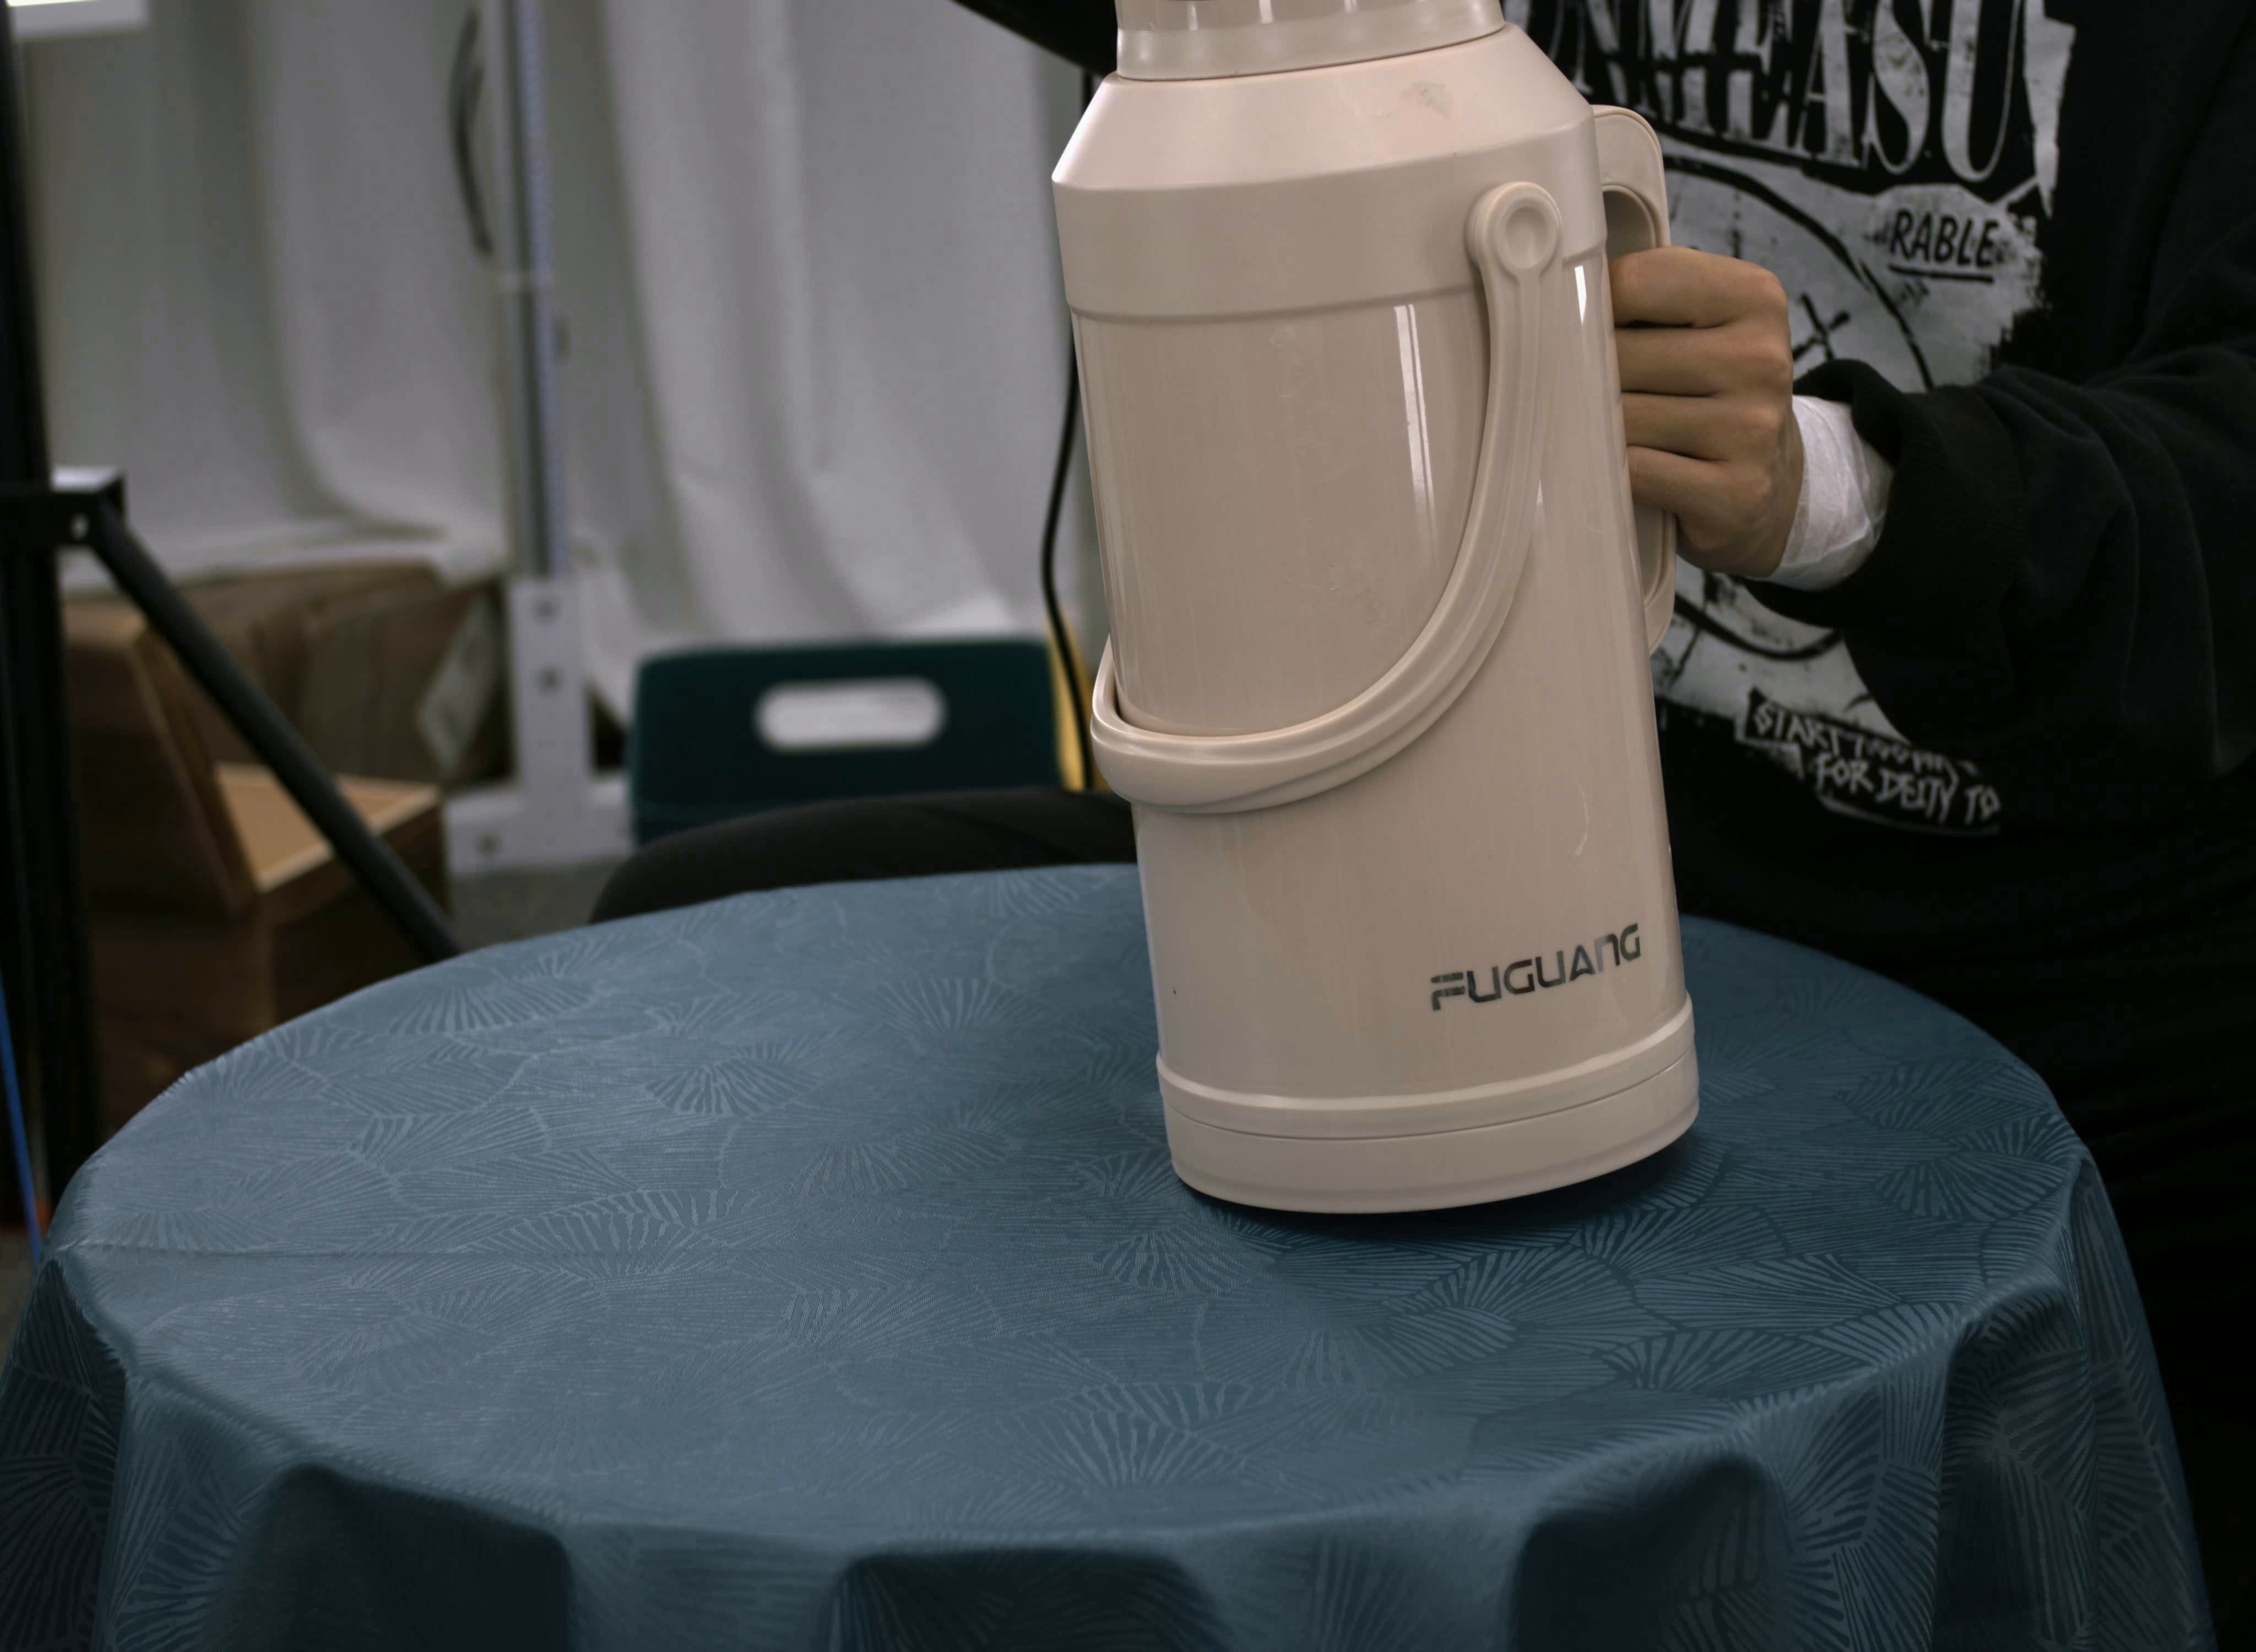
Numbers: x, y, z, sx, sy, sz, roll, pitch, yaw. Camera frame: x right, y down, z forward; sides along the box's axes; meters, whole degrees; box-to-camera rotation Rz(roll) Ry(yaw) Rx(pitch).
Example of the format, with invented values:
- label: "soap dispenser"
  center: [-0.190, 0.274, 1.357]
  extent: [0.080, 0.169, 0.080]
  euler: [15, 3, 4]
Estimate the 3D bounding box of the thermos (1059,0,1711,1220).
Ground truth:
- label: "thermos"
  center: [0.082, -0.104, 1.538]
  extent: [0.202, 0.406, 0.179]
  euler: [-15, 13, -33]
